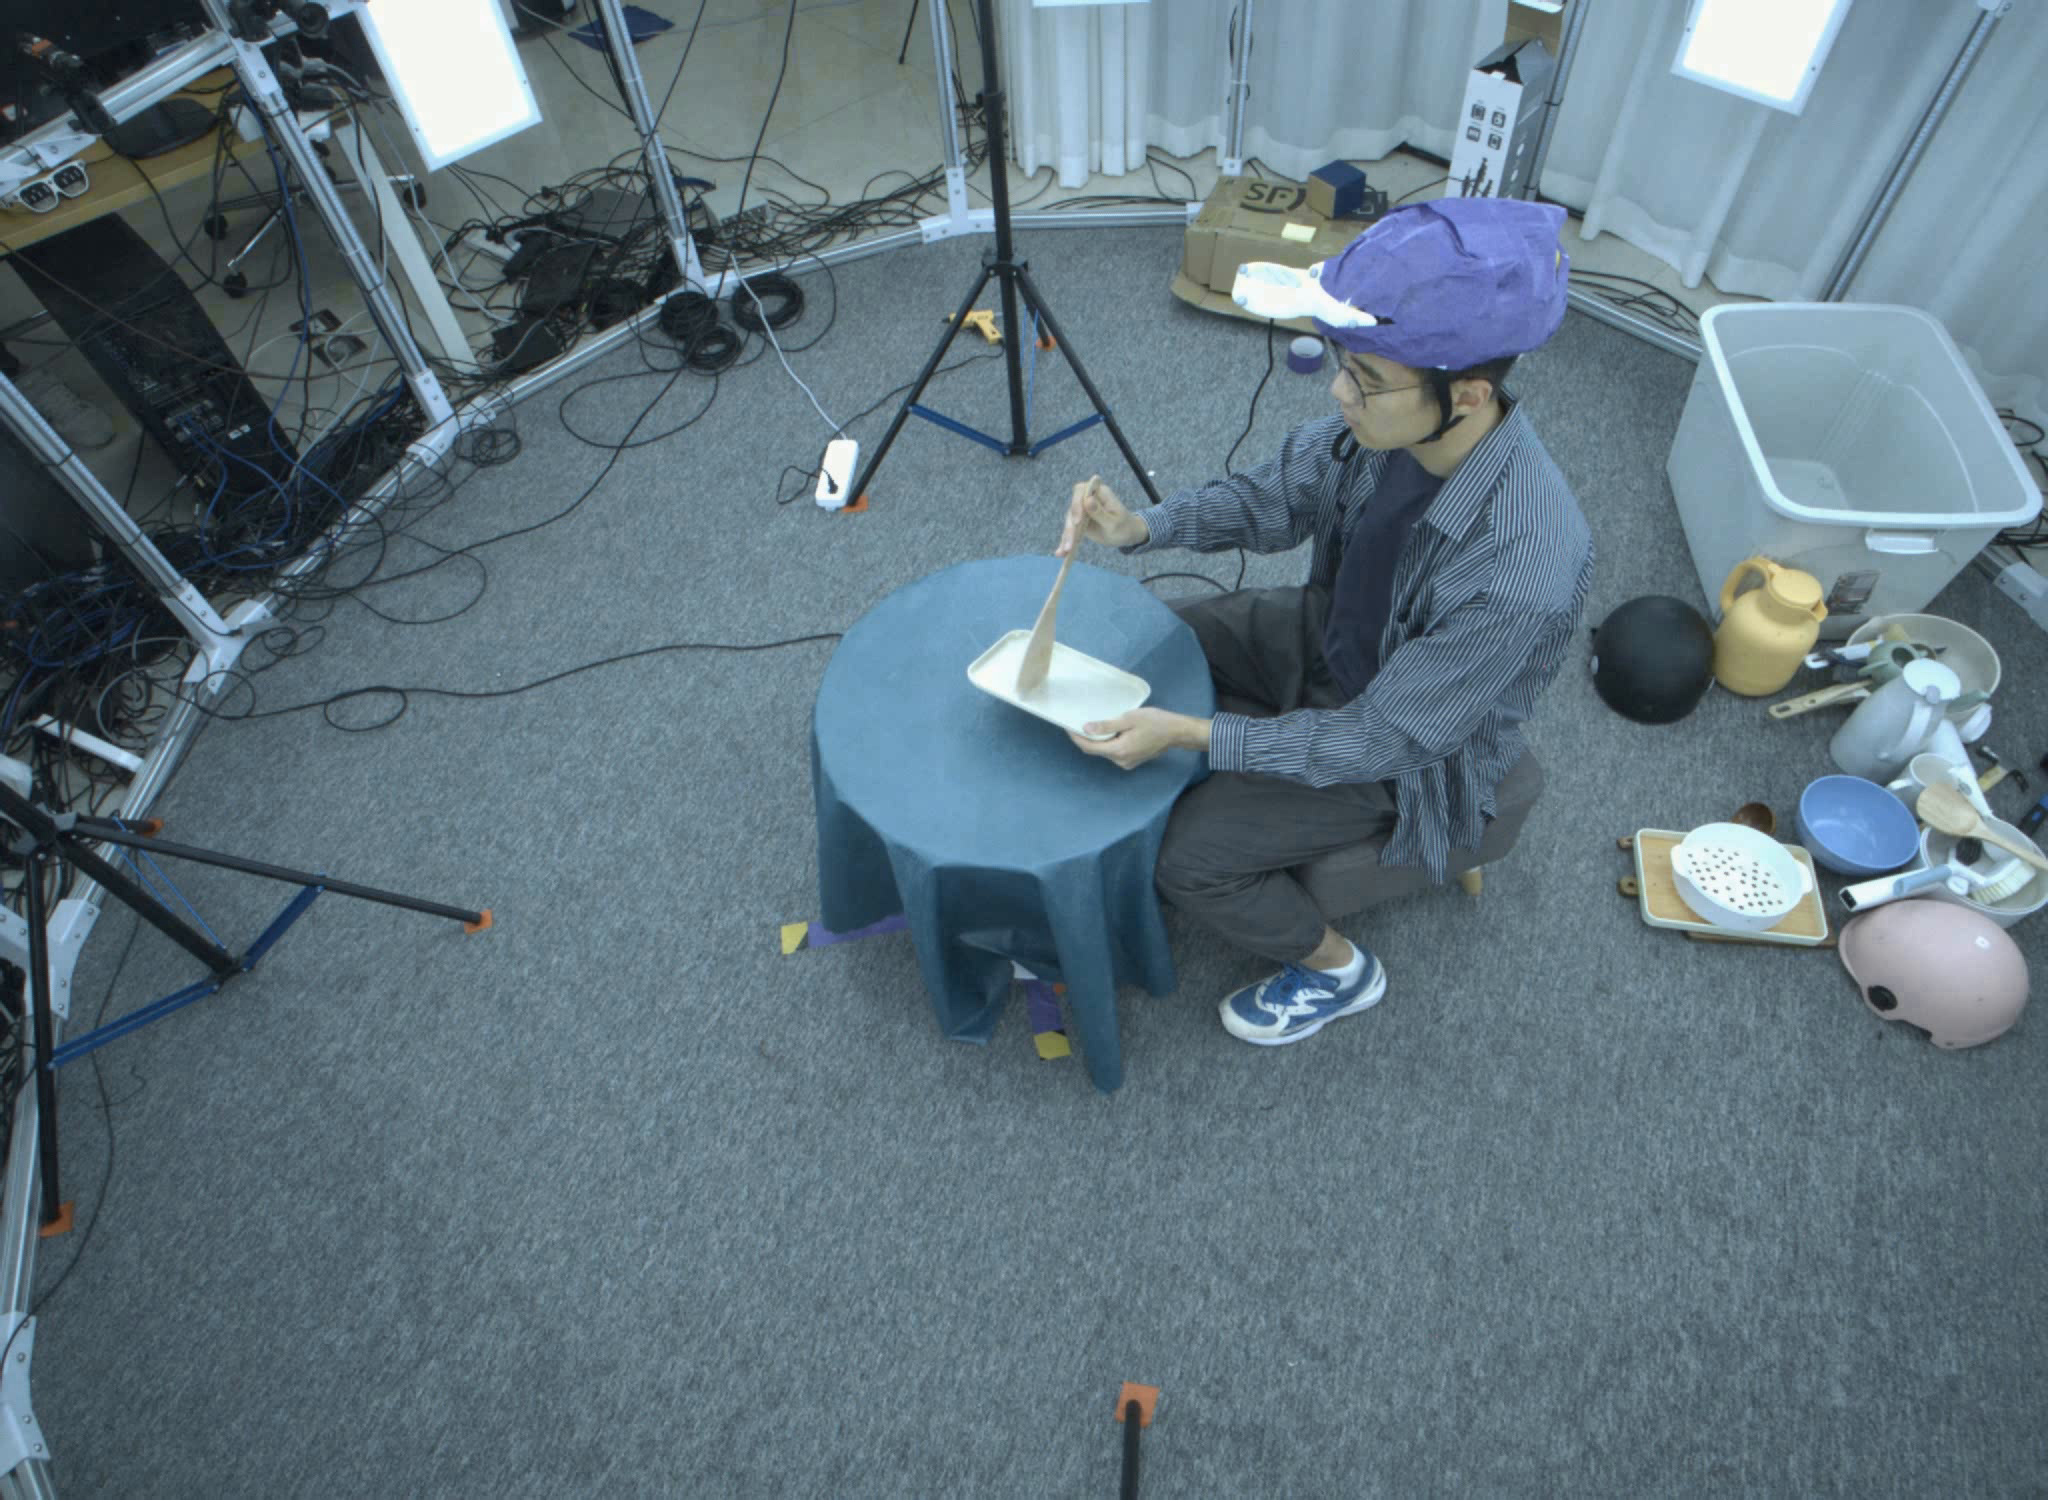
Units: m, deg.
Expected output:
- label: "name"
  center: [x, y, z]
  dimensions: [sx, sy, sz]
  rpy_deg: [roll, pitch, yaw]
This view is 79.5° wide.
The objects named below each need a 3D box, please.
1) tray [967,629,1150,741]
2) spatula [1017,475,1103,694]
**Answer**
- label: "tray"
  center: [0.050, -0.095, 1.779]
  dimensions: [0.237, 0.017, 0.172]
  rpy_deg: [26, 41, 15]
- label: "spatula"
  center: [0.054, -0.228, 1.695]
  dimensions: [0.016, 0.328, 0.081]
  rpy_deg: [32, 31, 21]
